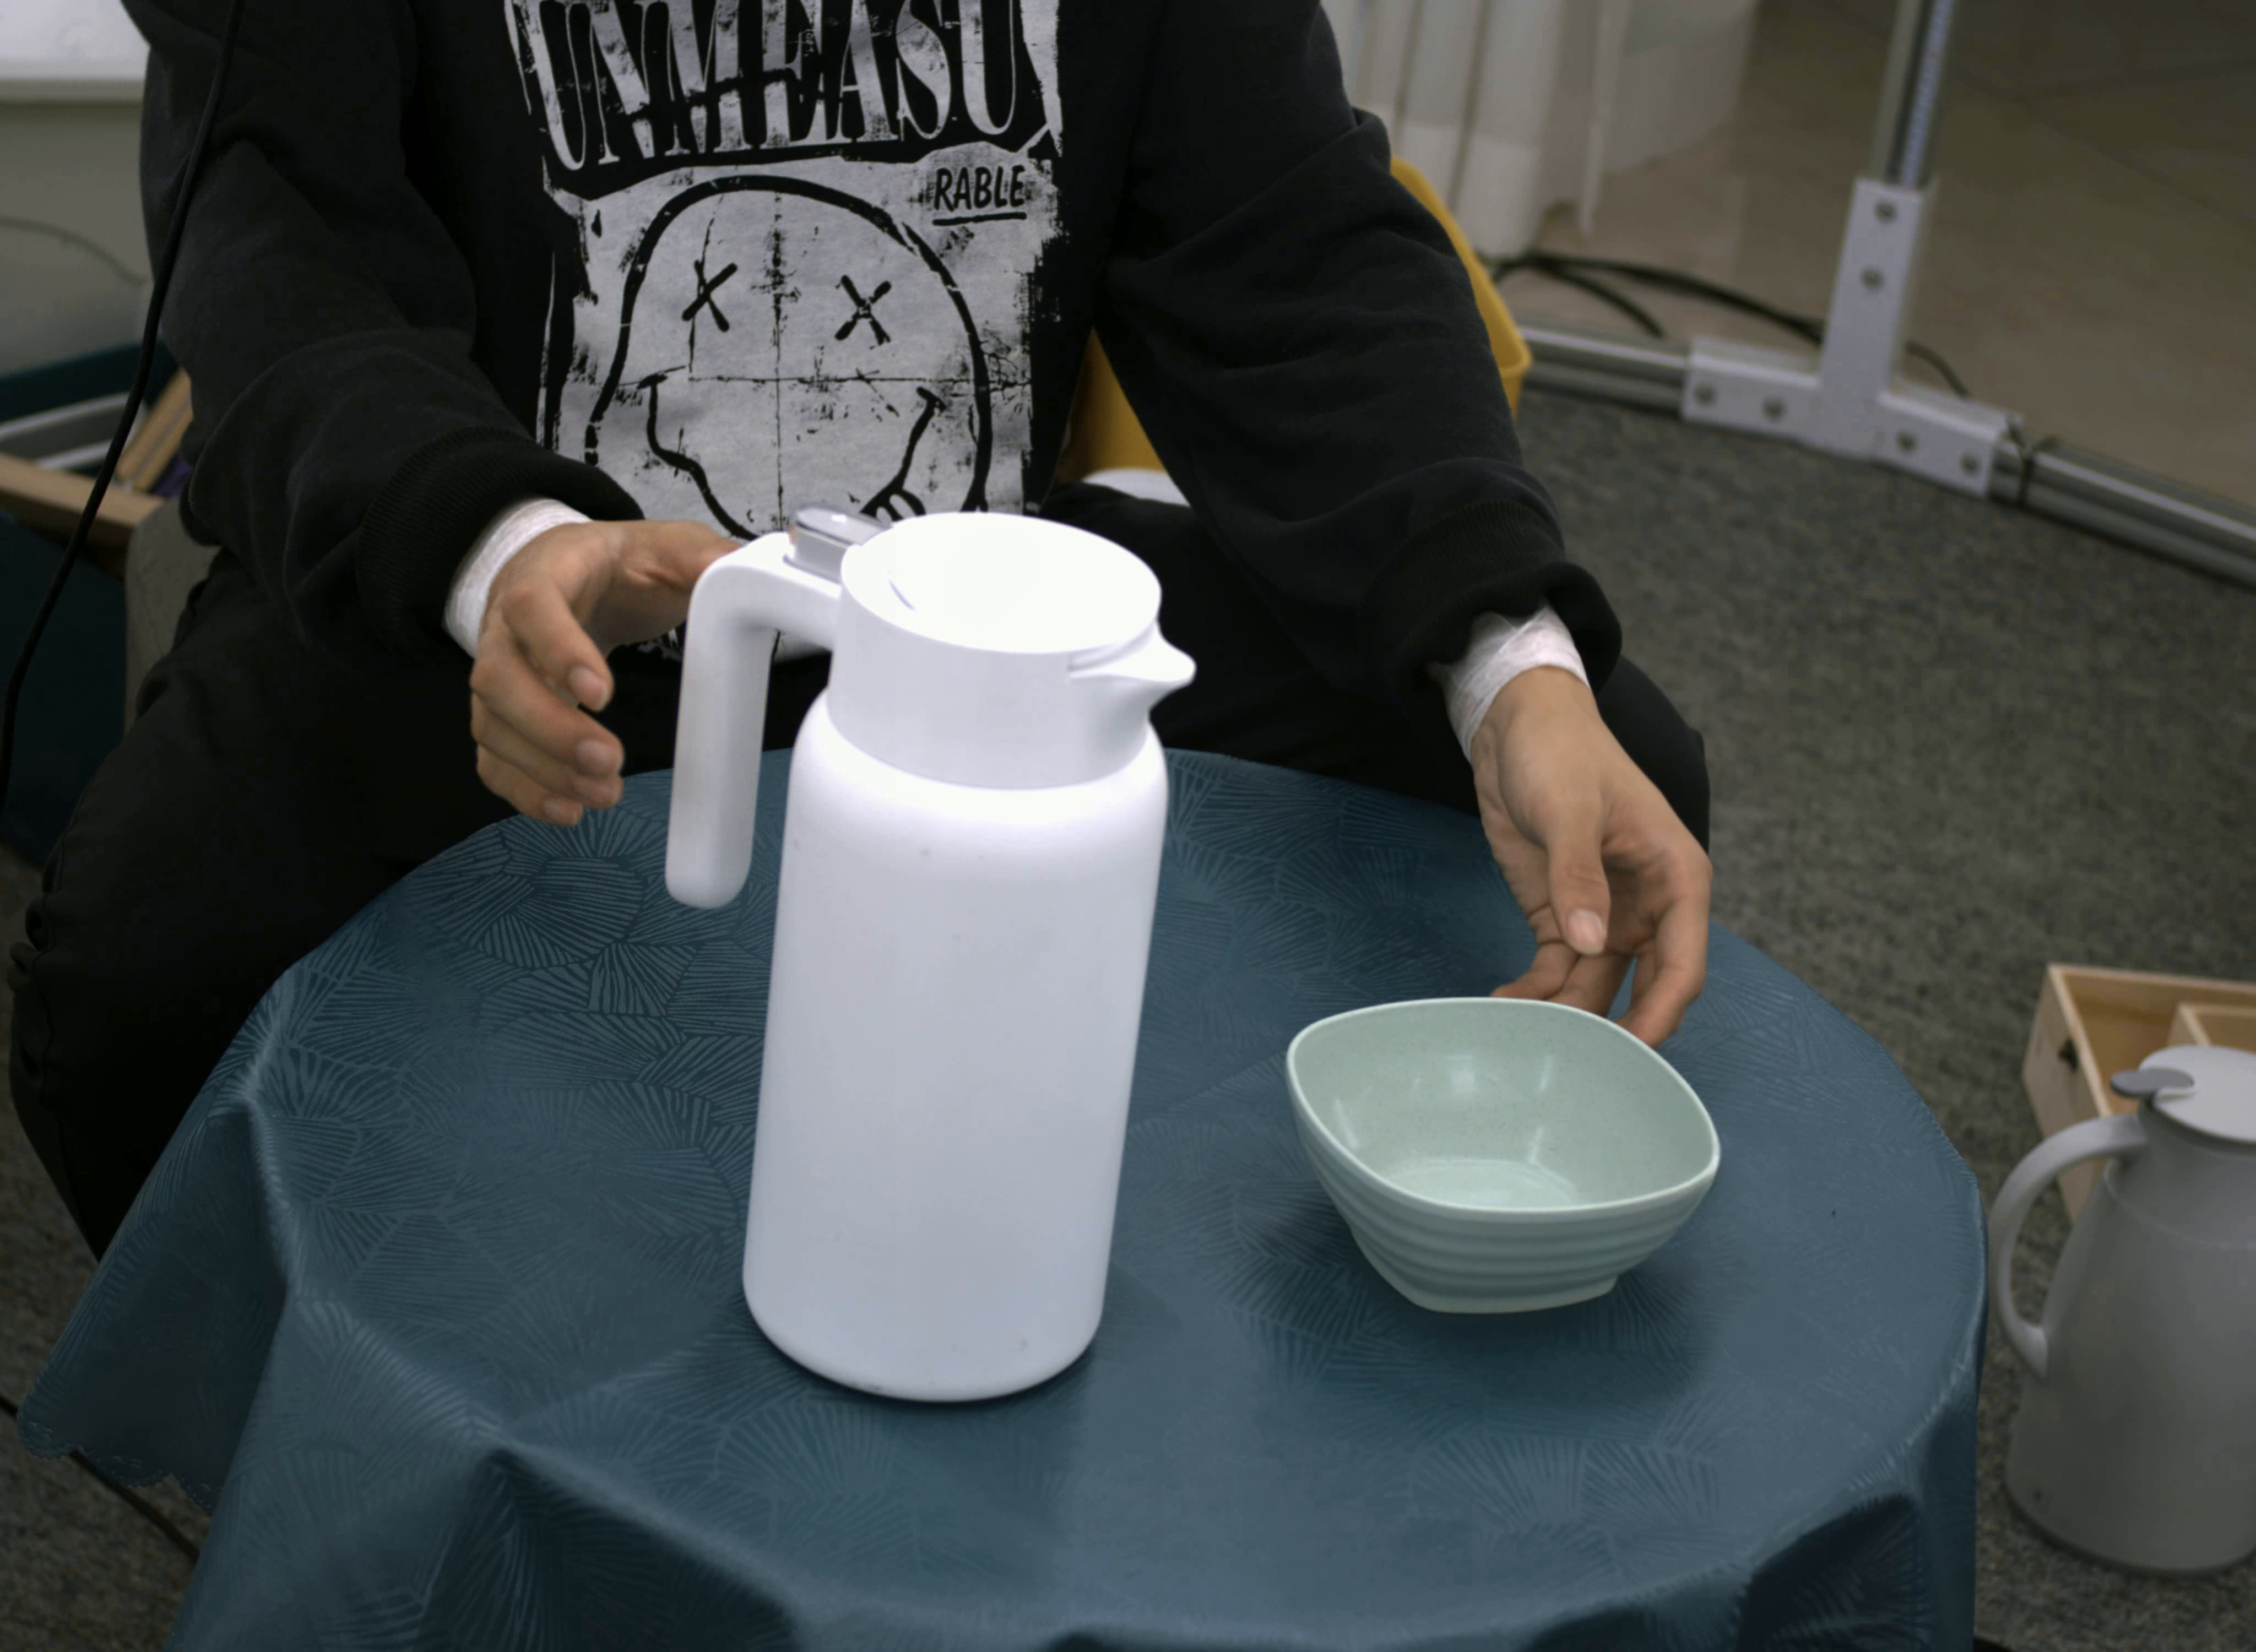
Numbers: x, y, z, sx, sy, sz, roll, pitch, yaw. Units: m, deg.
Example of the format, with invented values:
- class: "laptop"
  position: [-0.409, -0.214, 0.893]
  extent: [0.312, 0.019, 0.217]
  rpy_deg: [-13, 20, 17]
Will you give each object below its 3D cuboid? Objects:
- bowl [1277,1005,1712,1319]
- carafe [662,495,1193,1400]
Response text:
- class: "bowl"
  position: [0.119, 0.119, 1.784]
  extent: [0.151, 0.058, 0.152]
  rpy_deg: [5, 26, -3]
- class: "carafe"
  position: [-0.069, 0.035, 1.670]
  extent: [0.173, 0.268, 0.123]
  rpy_deg: [20, 31, 24]
